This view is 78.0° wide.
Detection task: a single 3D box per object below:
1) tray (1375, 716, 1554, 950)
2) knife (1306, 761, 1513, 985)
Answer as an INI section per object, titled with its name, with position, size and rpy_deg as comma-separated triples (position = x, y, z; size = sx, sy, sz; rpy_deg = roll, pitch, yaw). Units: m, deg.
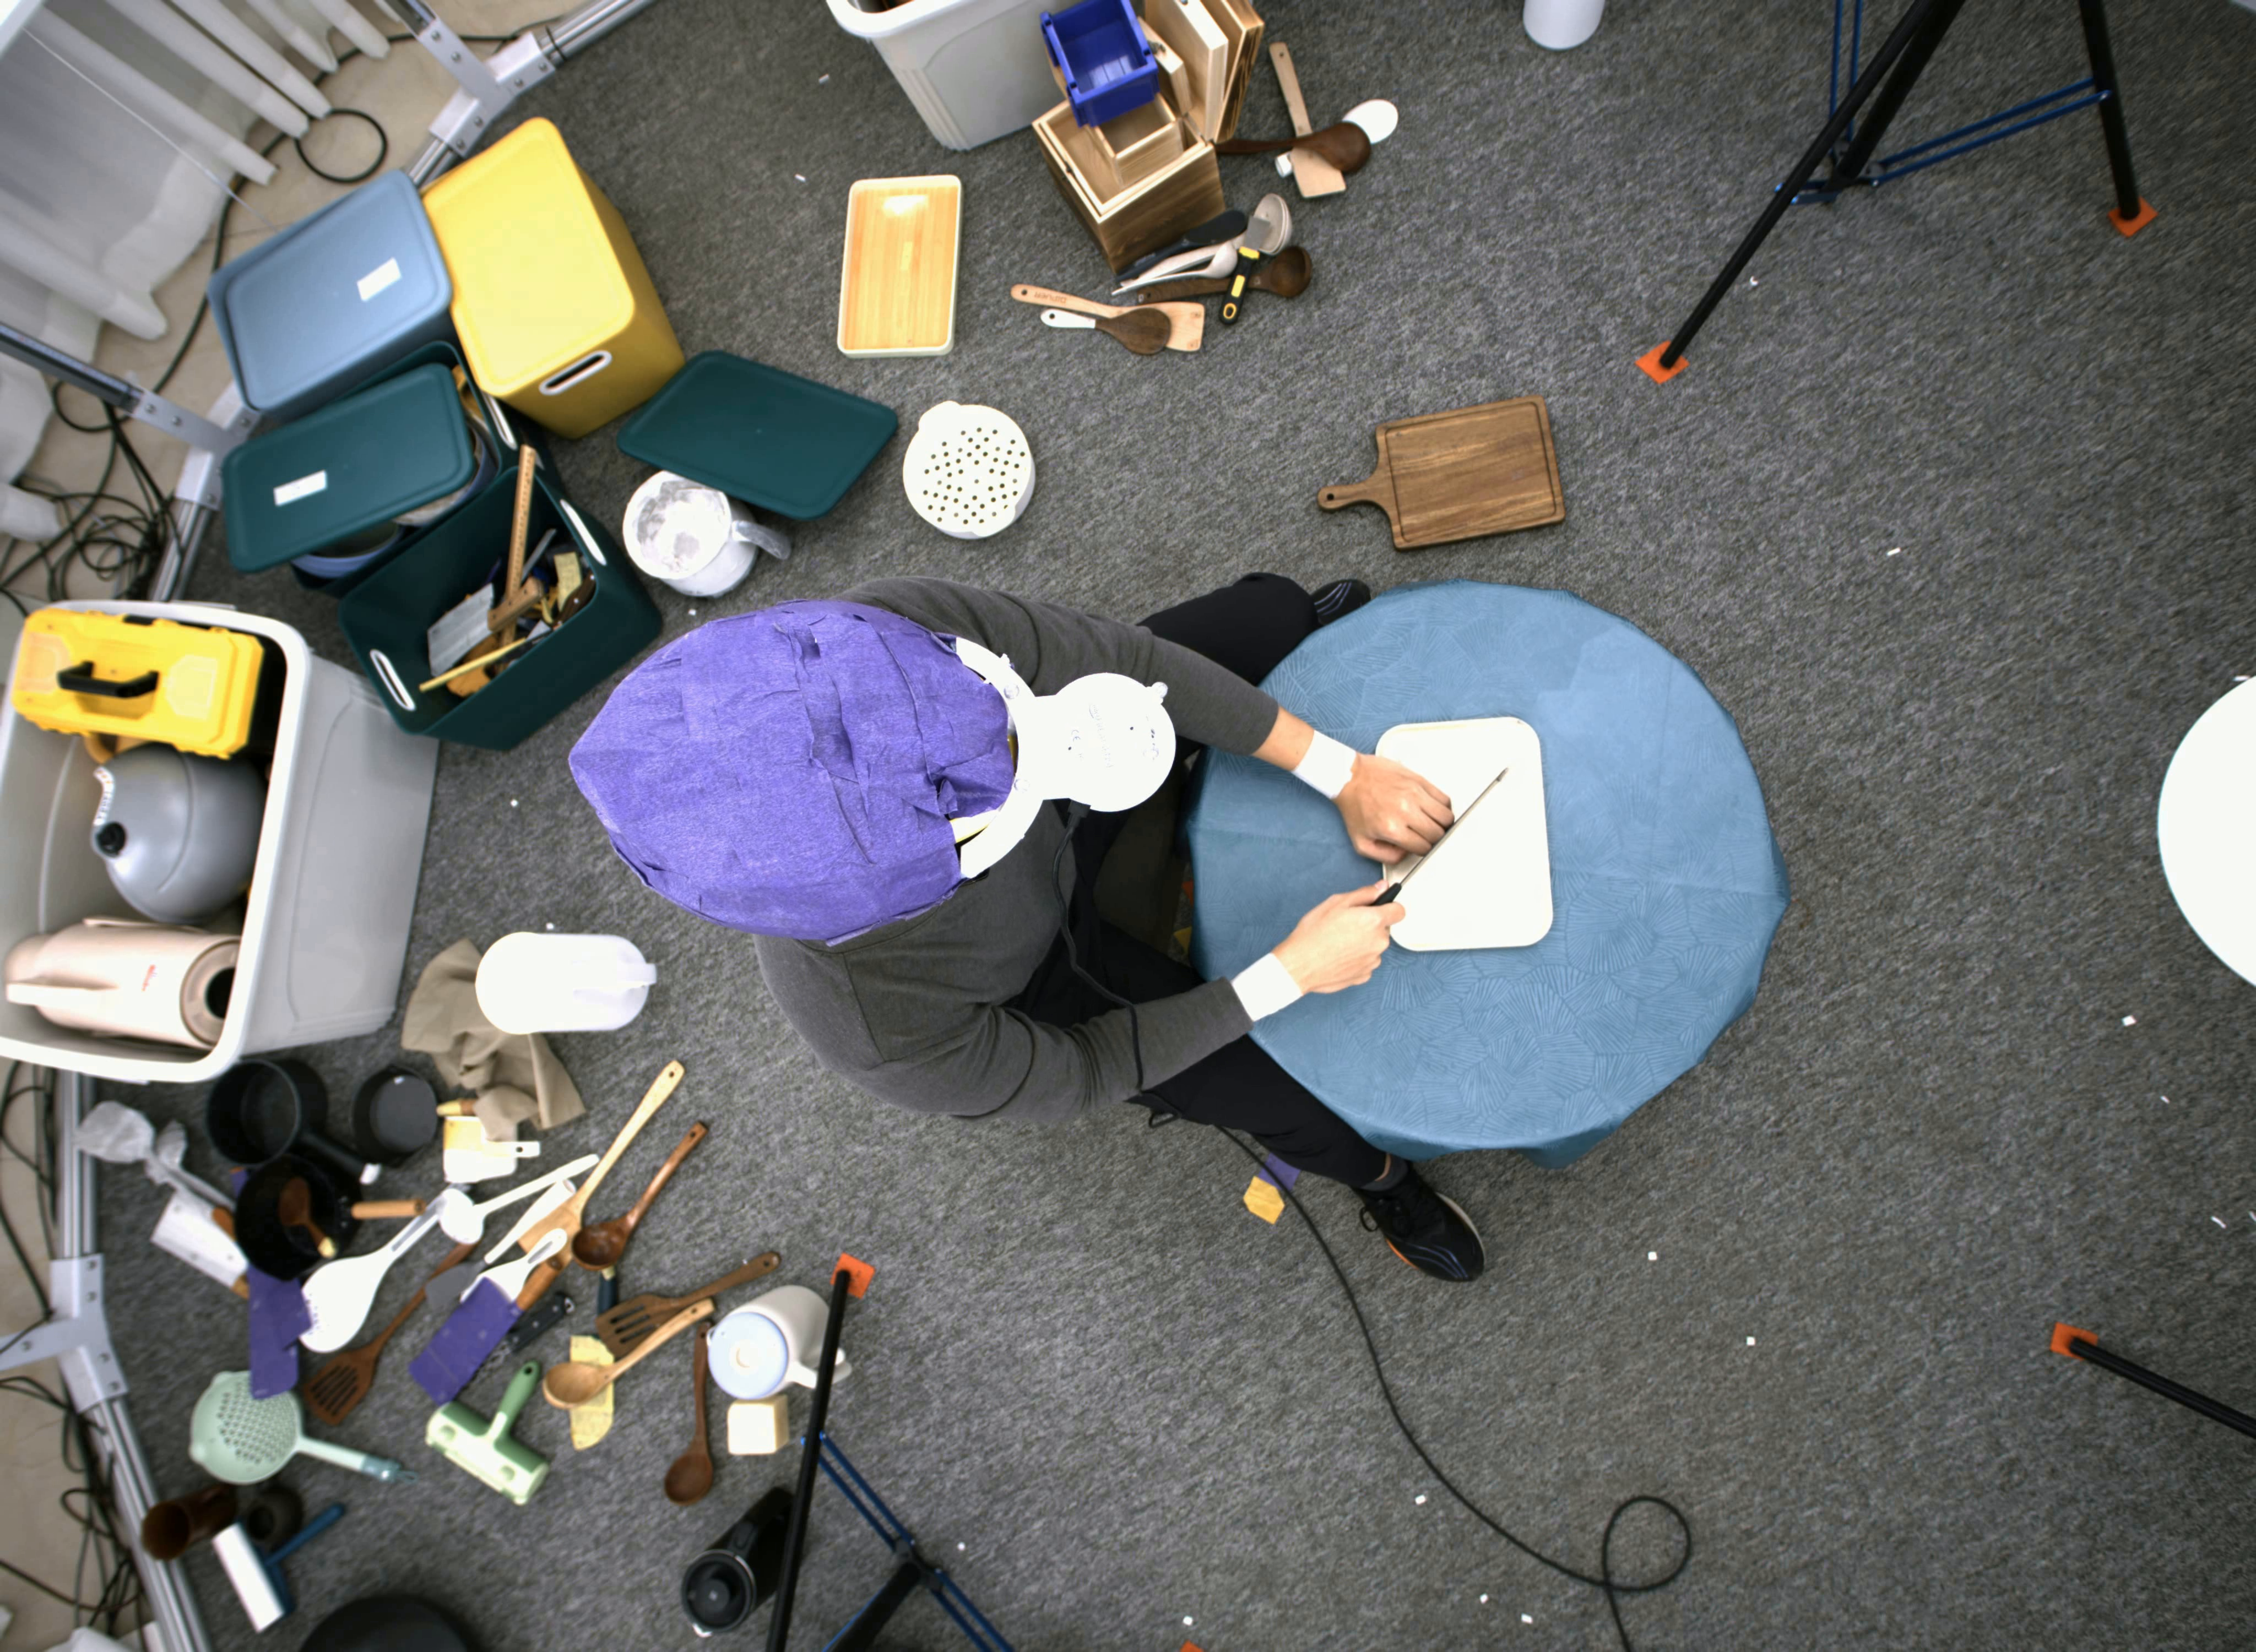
[tray]
position = 0.351, 0.006, 1.440
size = 0.172, 0.017, 0.238
rpy_deg = -4, 86, 11
[knife]
position = 0.289, 0.046, 1.402
size = 0.021, 0.081, 0.302
rpy_deg = 44, 90, 14
